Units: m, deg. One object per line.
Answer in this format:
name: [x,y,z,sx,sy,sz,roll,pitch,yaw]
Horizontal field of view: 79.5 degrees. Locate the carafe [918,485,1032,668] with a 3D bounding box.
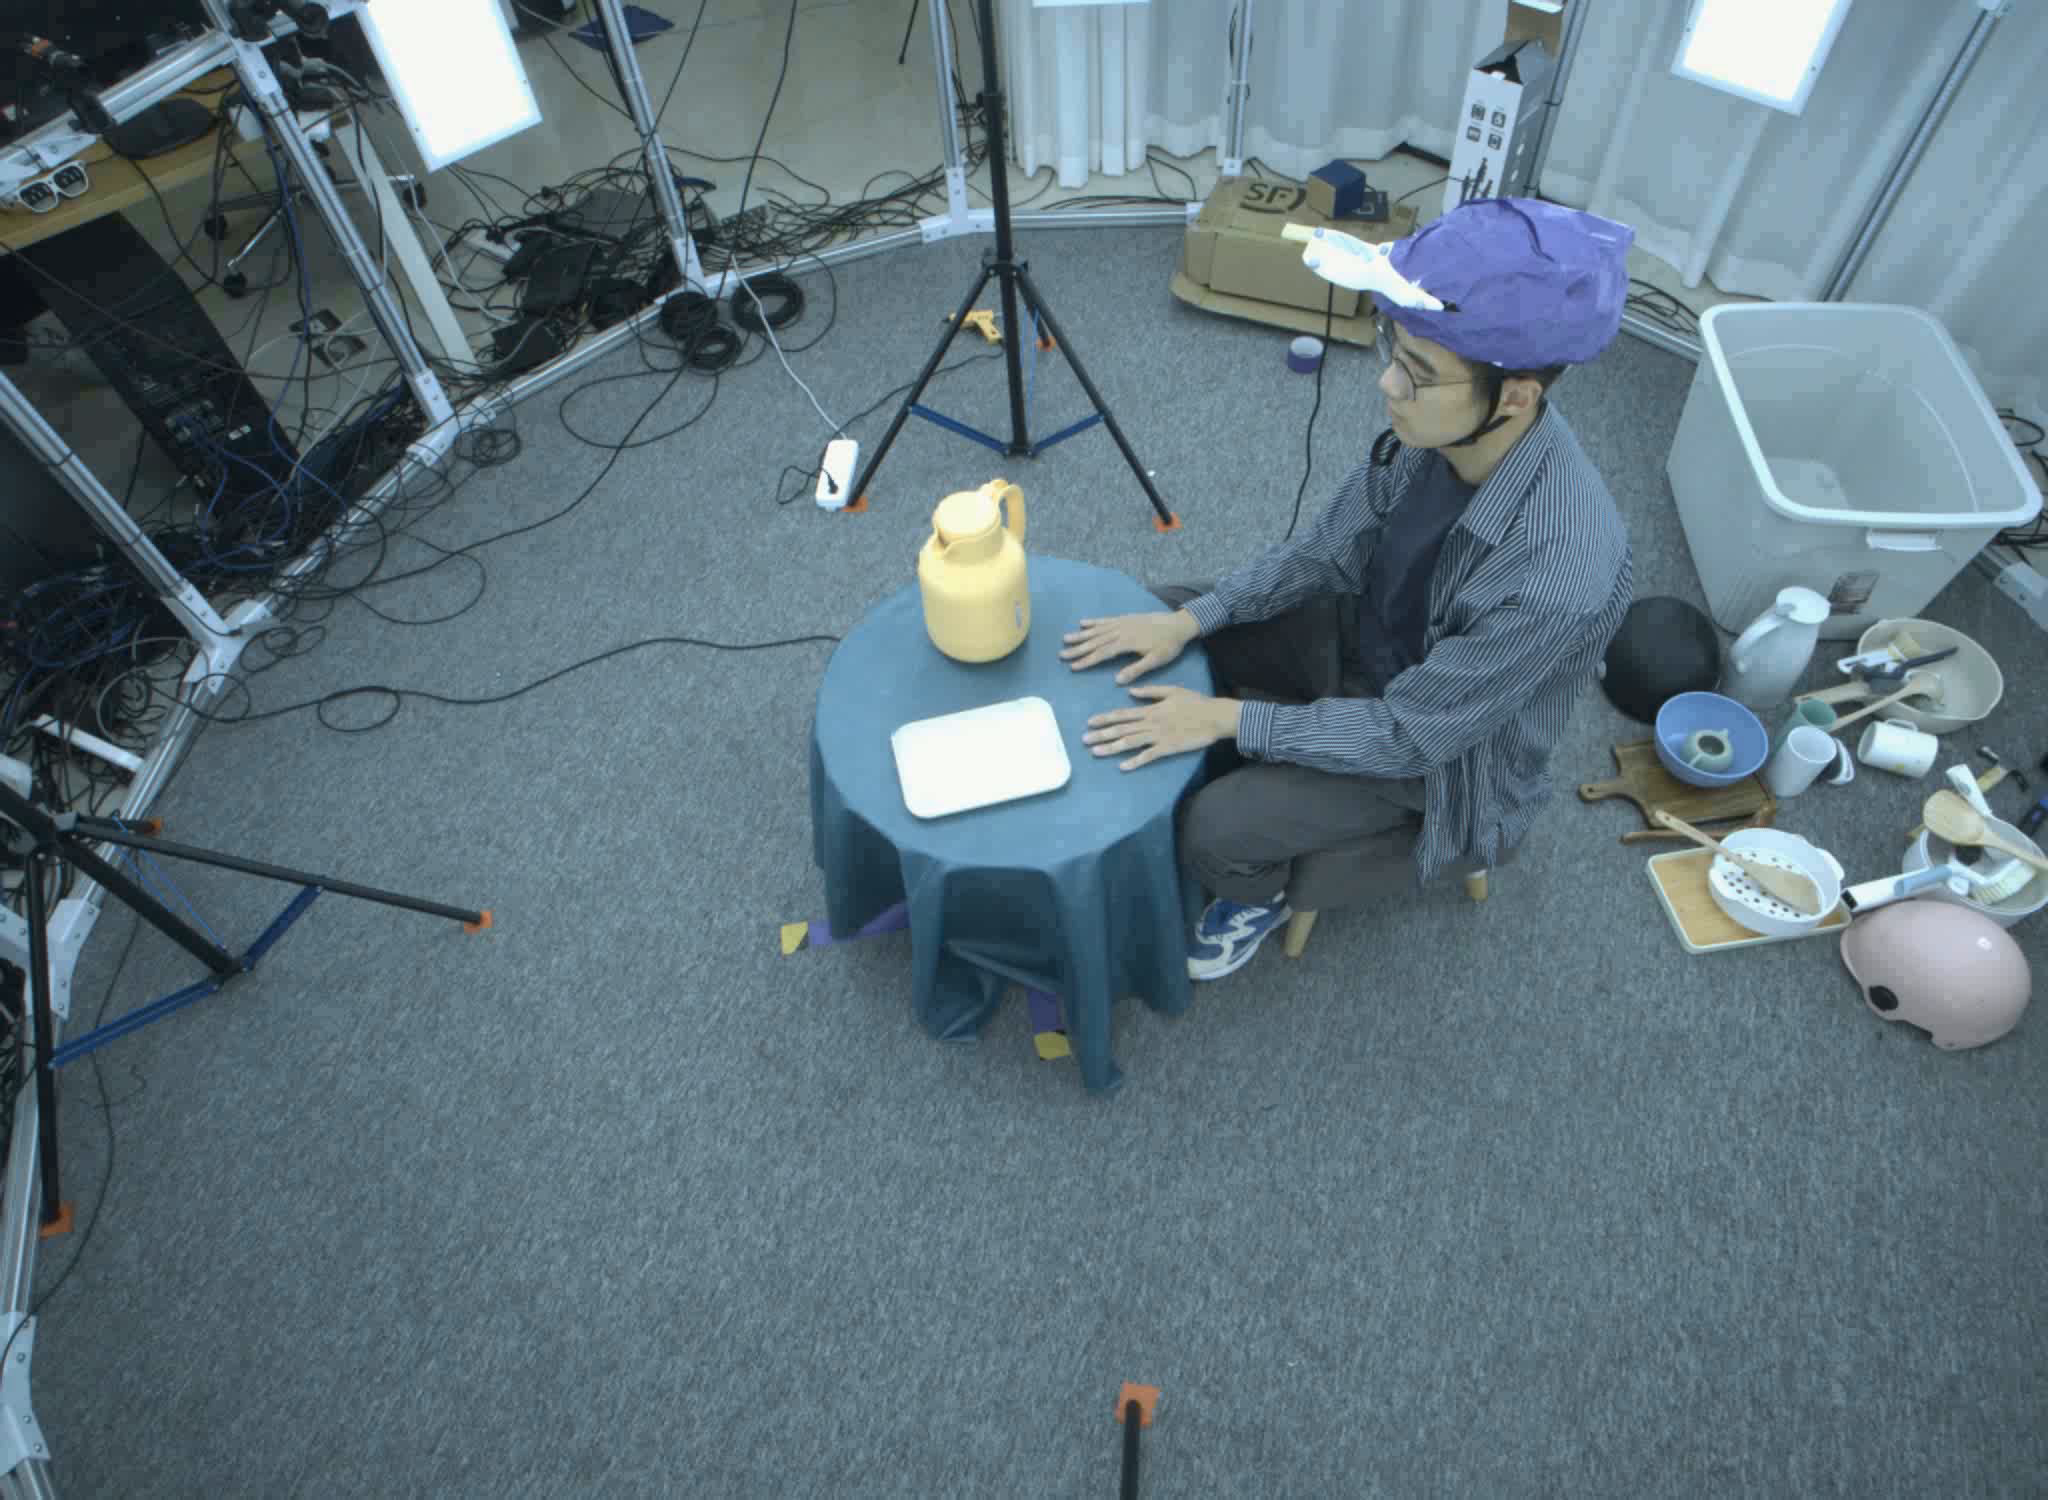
carafe: [-0.064,-0.265,1.821,0.161,0.263,0.203,25,60,18]

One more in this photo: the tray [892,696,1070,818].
tray: [-0.064,0.010,1.776,0.241,0.017,0.168,-12,56,-8]
